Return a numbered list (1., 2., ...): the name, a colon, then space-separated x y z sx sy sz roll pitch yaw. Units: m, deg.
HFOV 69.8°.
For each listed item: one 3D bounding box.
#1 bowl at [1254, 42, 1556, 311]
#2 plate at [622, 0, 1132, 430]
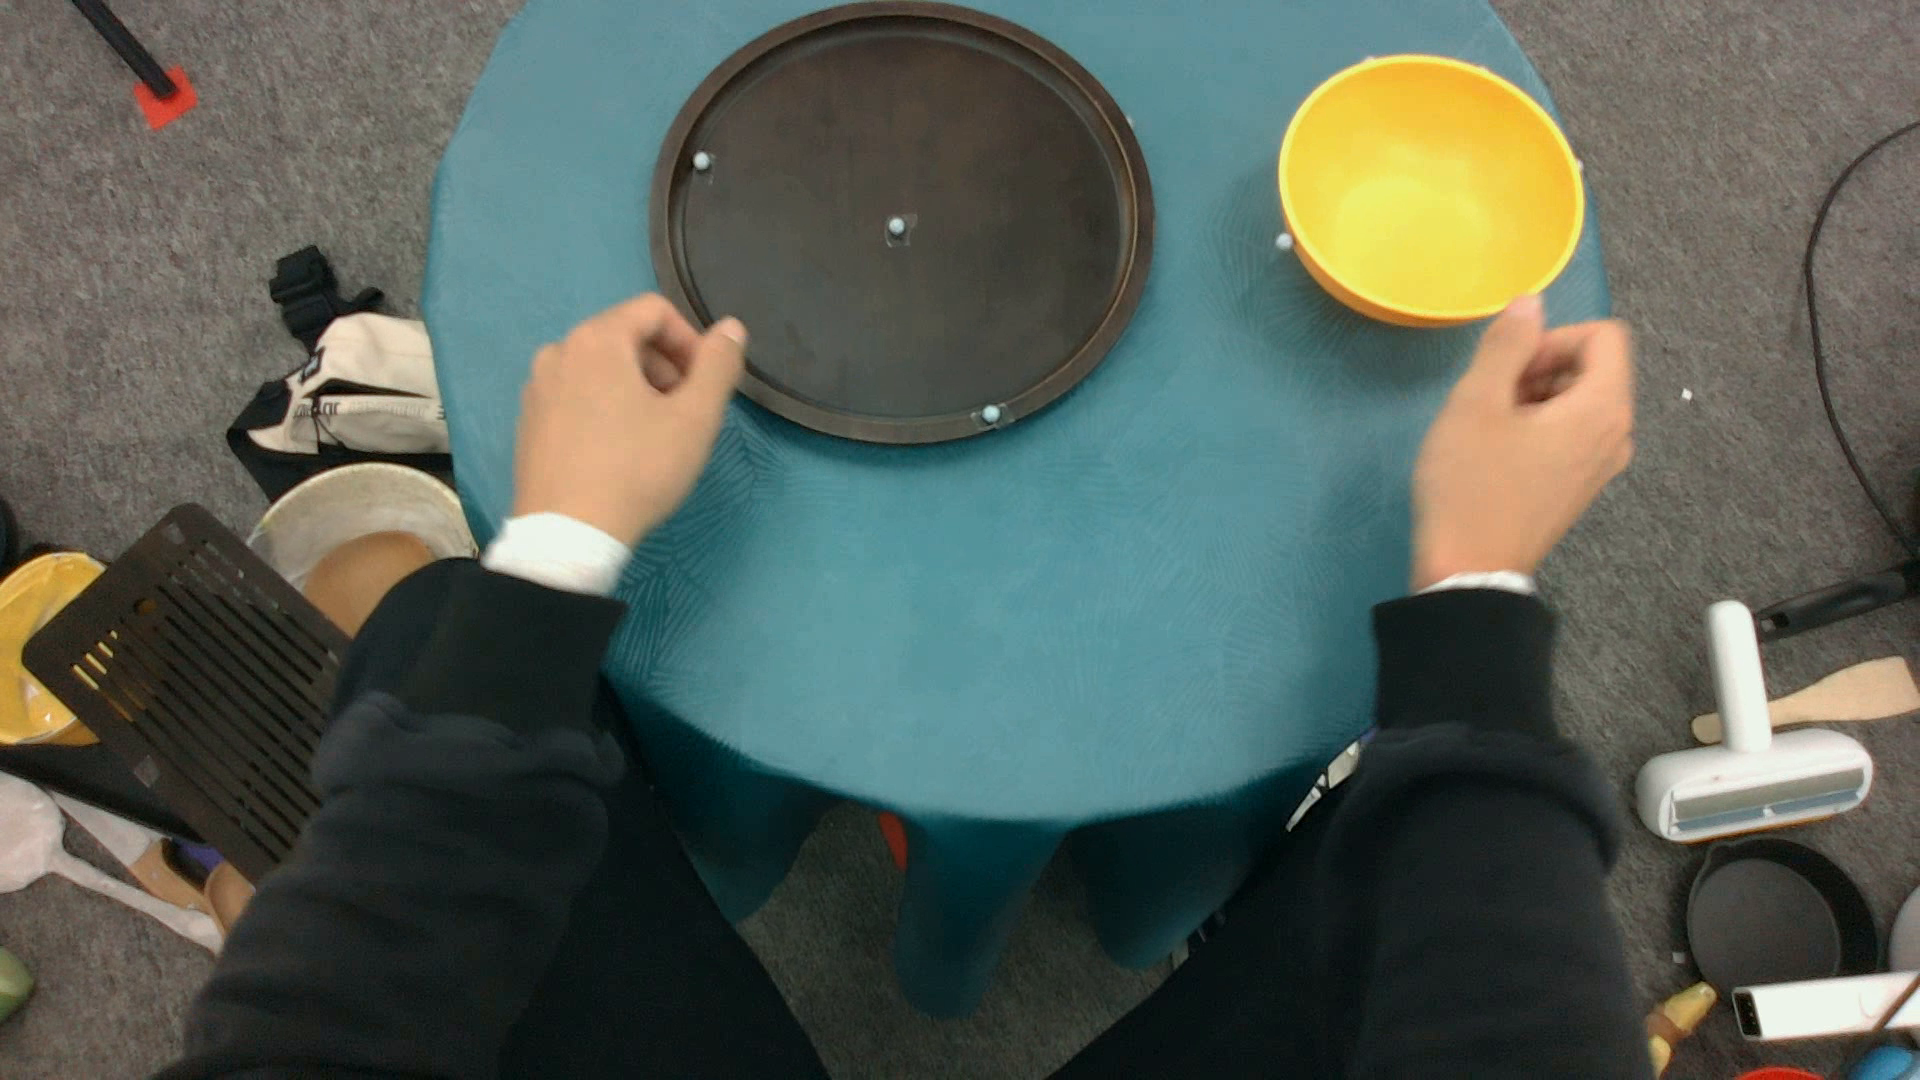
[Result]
1. bowl: 0.213 -0.171 0.688 0.145 0.060 0.145 0 73 -1
2. plate: -0.040 -0.171 0.692 0.255 0.029 0.255 1 73 -4
